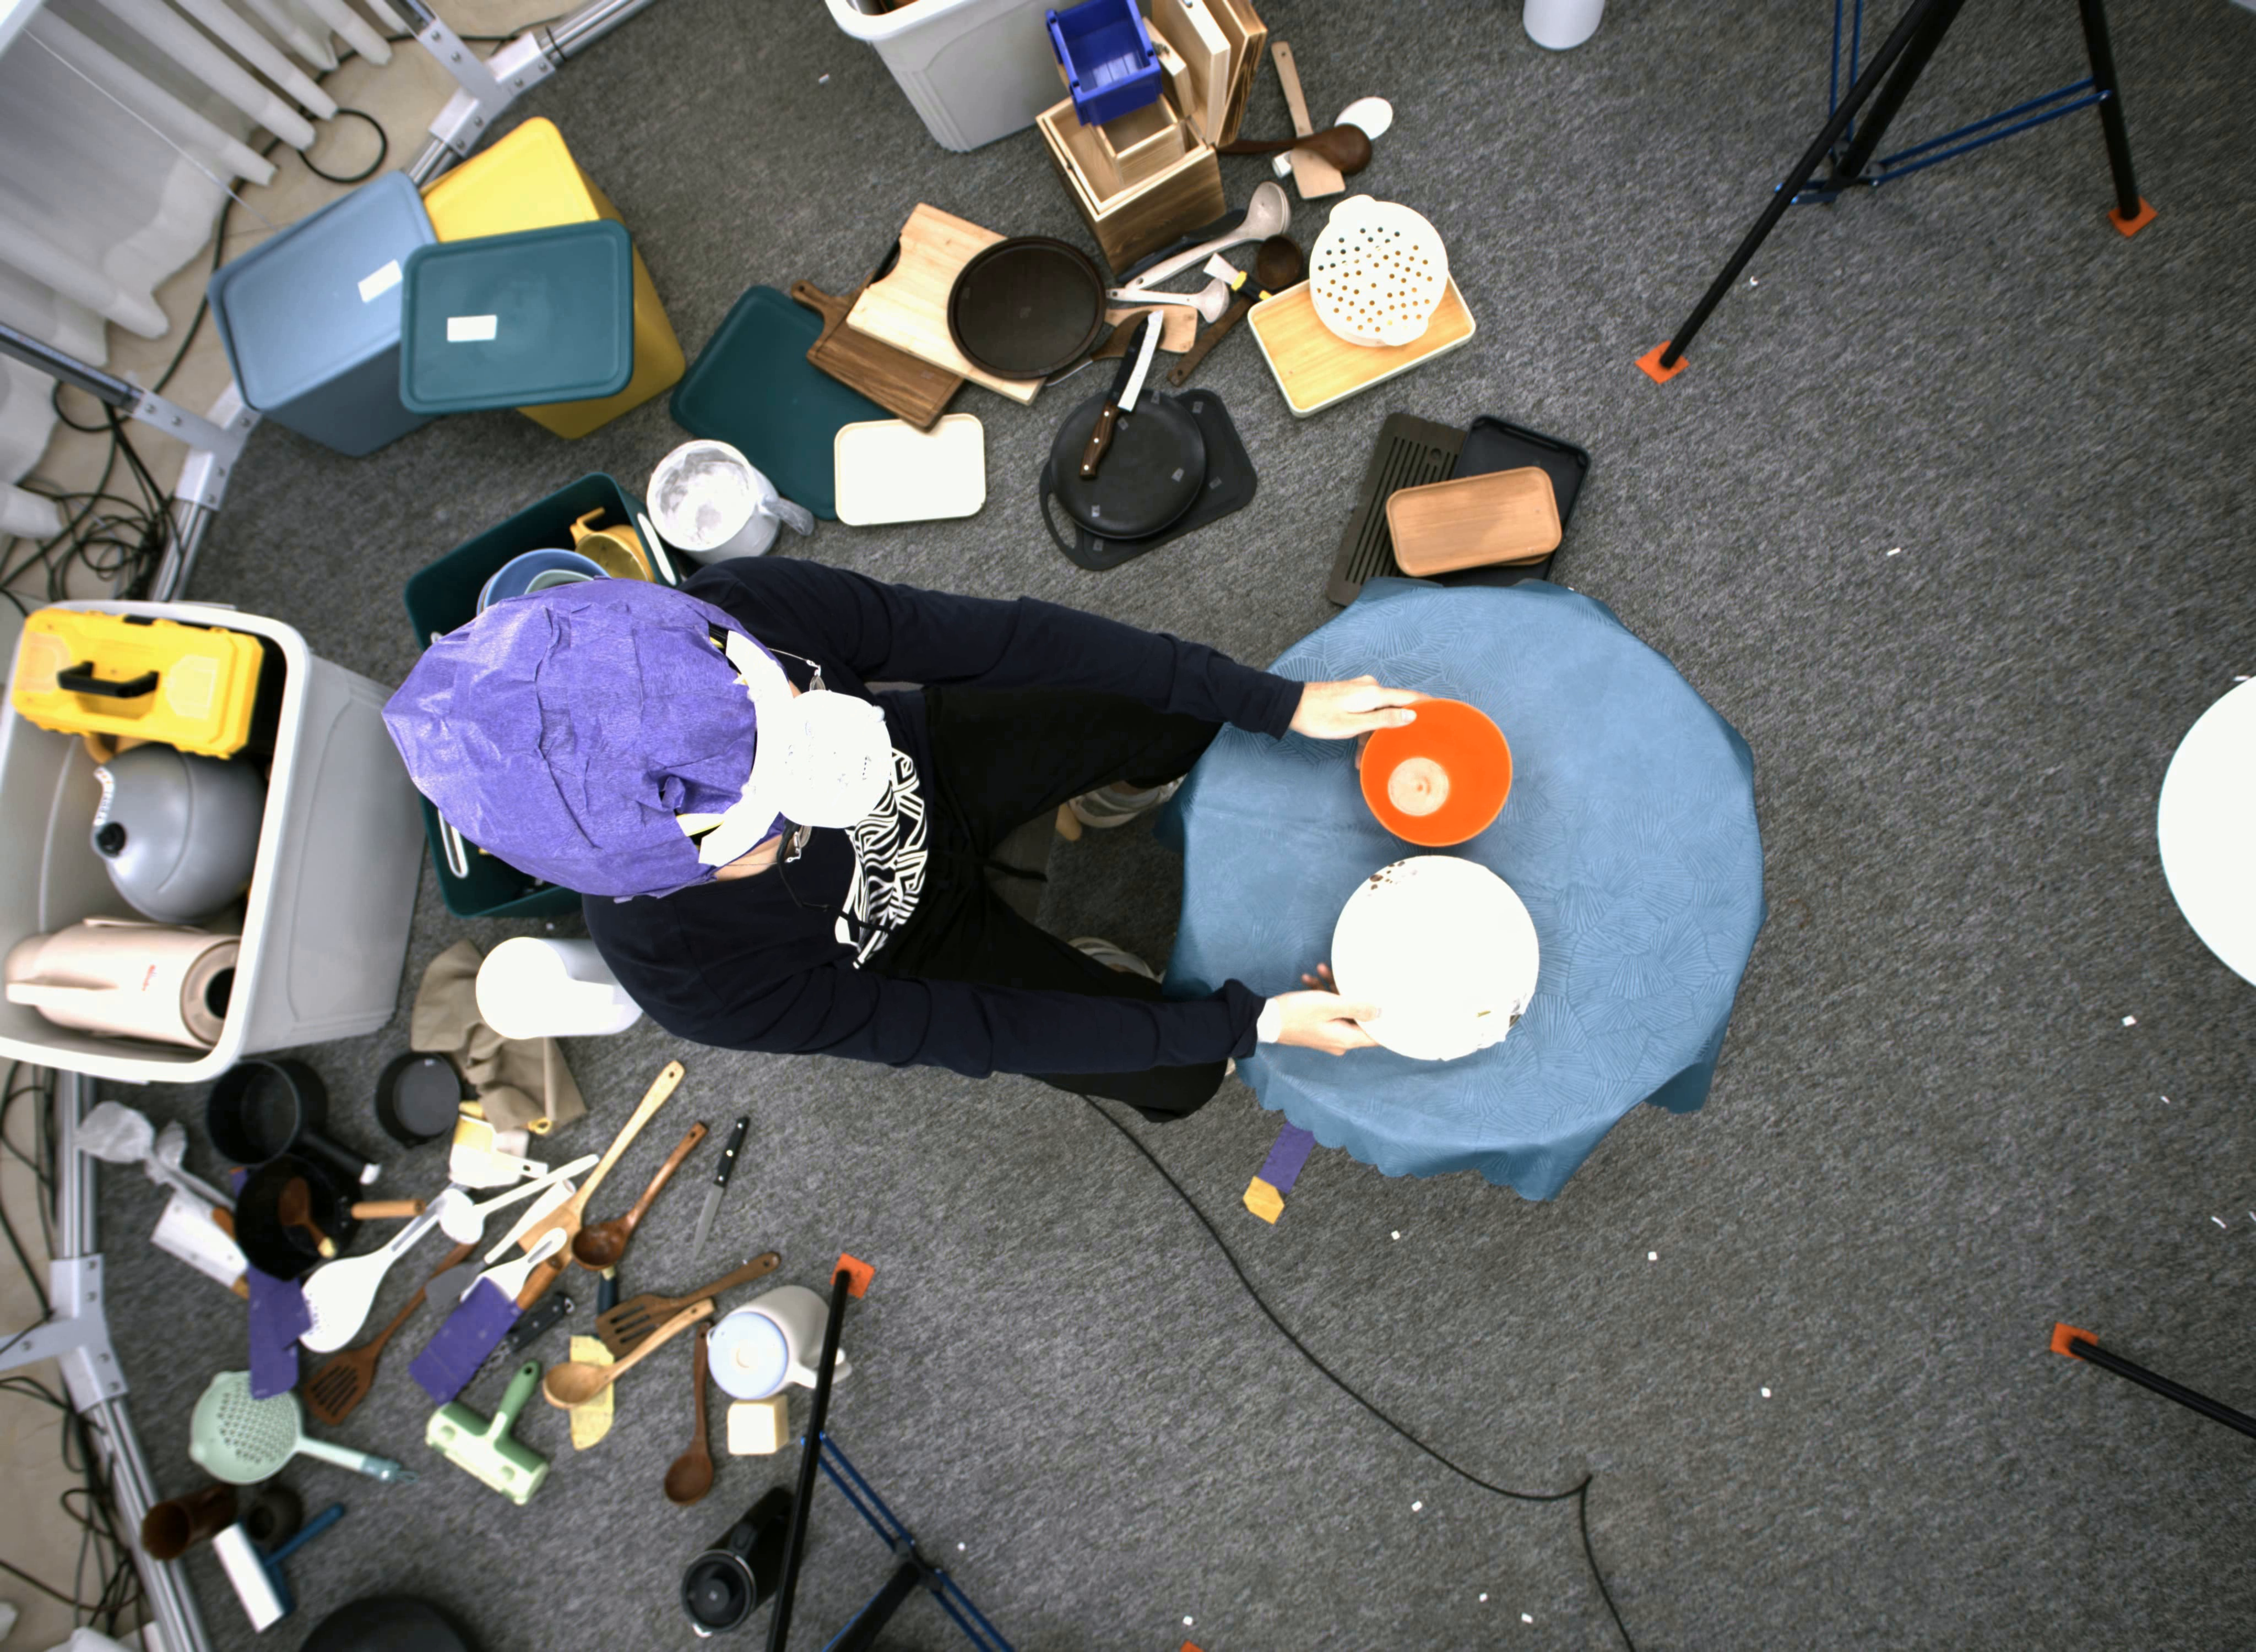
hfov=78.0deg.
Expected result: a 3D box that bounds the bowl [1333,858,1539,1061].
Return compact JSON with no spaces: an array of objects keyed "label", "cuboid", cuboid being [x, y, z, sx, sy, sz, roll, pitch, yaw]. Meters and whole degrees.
[{"label":"bowl","cuboid":[0.315,0.136,1.412,0.205,0.078,0.202,-2,84,15]}]

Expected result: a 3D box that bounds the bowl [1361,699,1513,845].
[{"label":"bowl","cuboid":[0.313,-0.051,1.408,0.148,0.105,0.147,-1,85,10]}]
